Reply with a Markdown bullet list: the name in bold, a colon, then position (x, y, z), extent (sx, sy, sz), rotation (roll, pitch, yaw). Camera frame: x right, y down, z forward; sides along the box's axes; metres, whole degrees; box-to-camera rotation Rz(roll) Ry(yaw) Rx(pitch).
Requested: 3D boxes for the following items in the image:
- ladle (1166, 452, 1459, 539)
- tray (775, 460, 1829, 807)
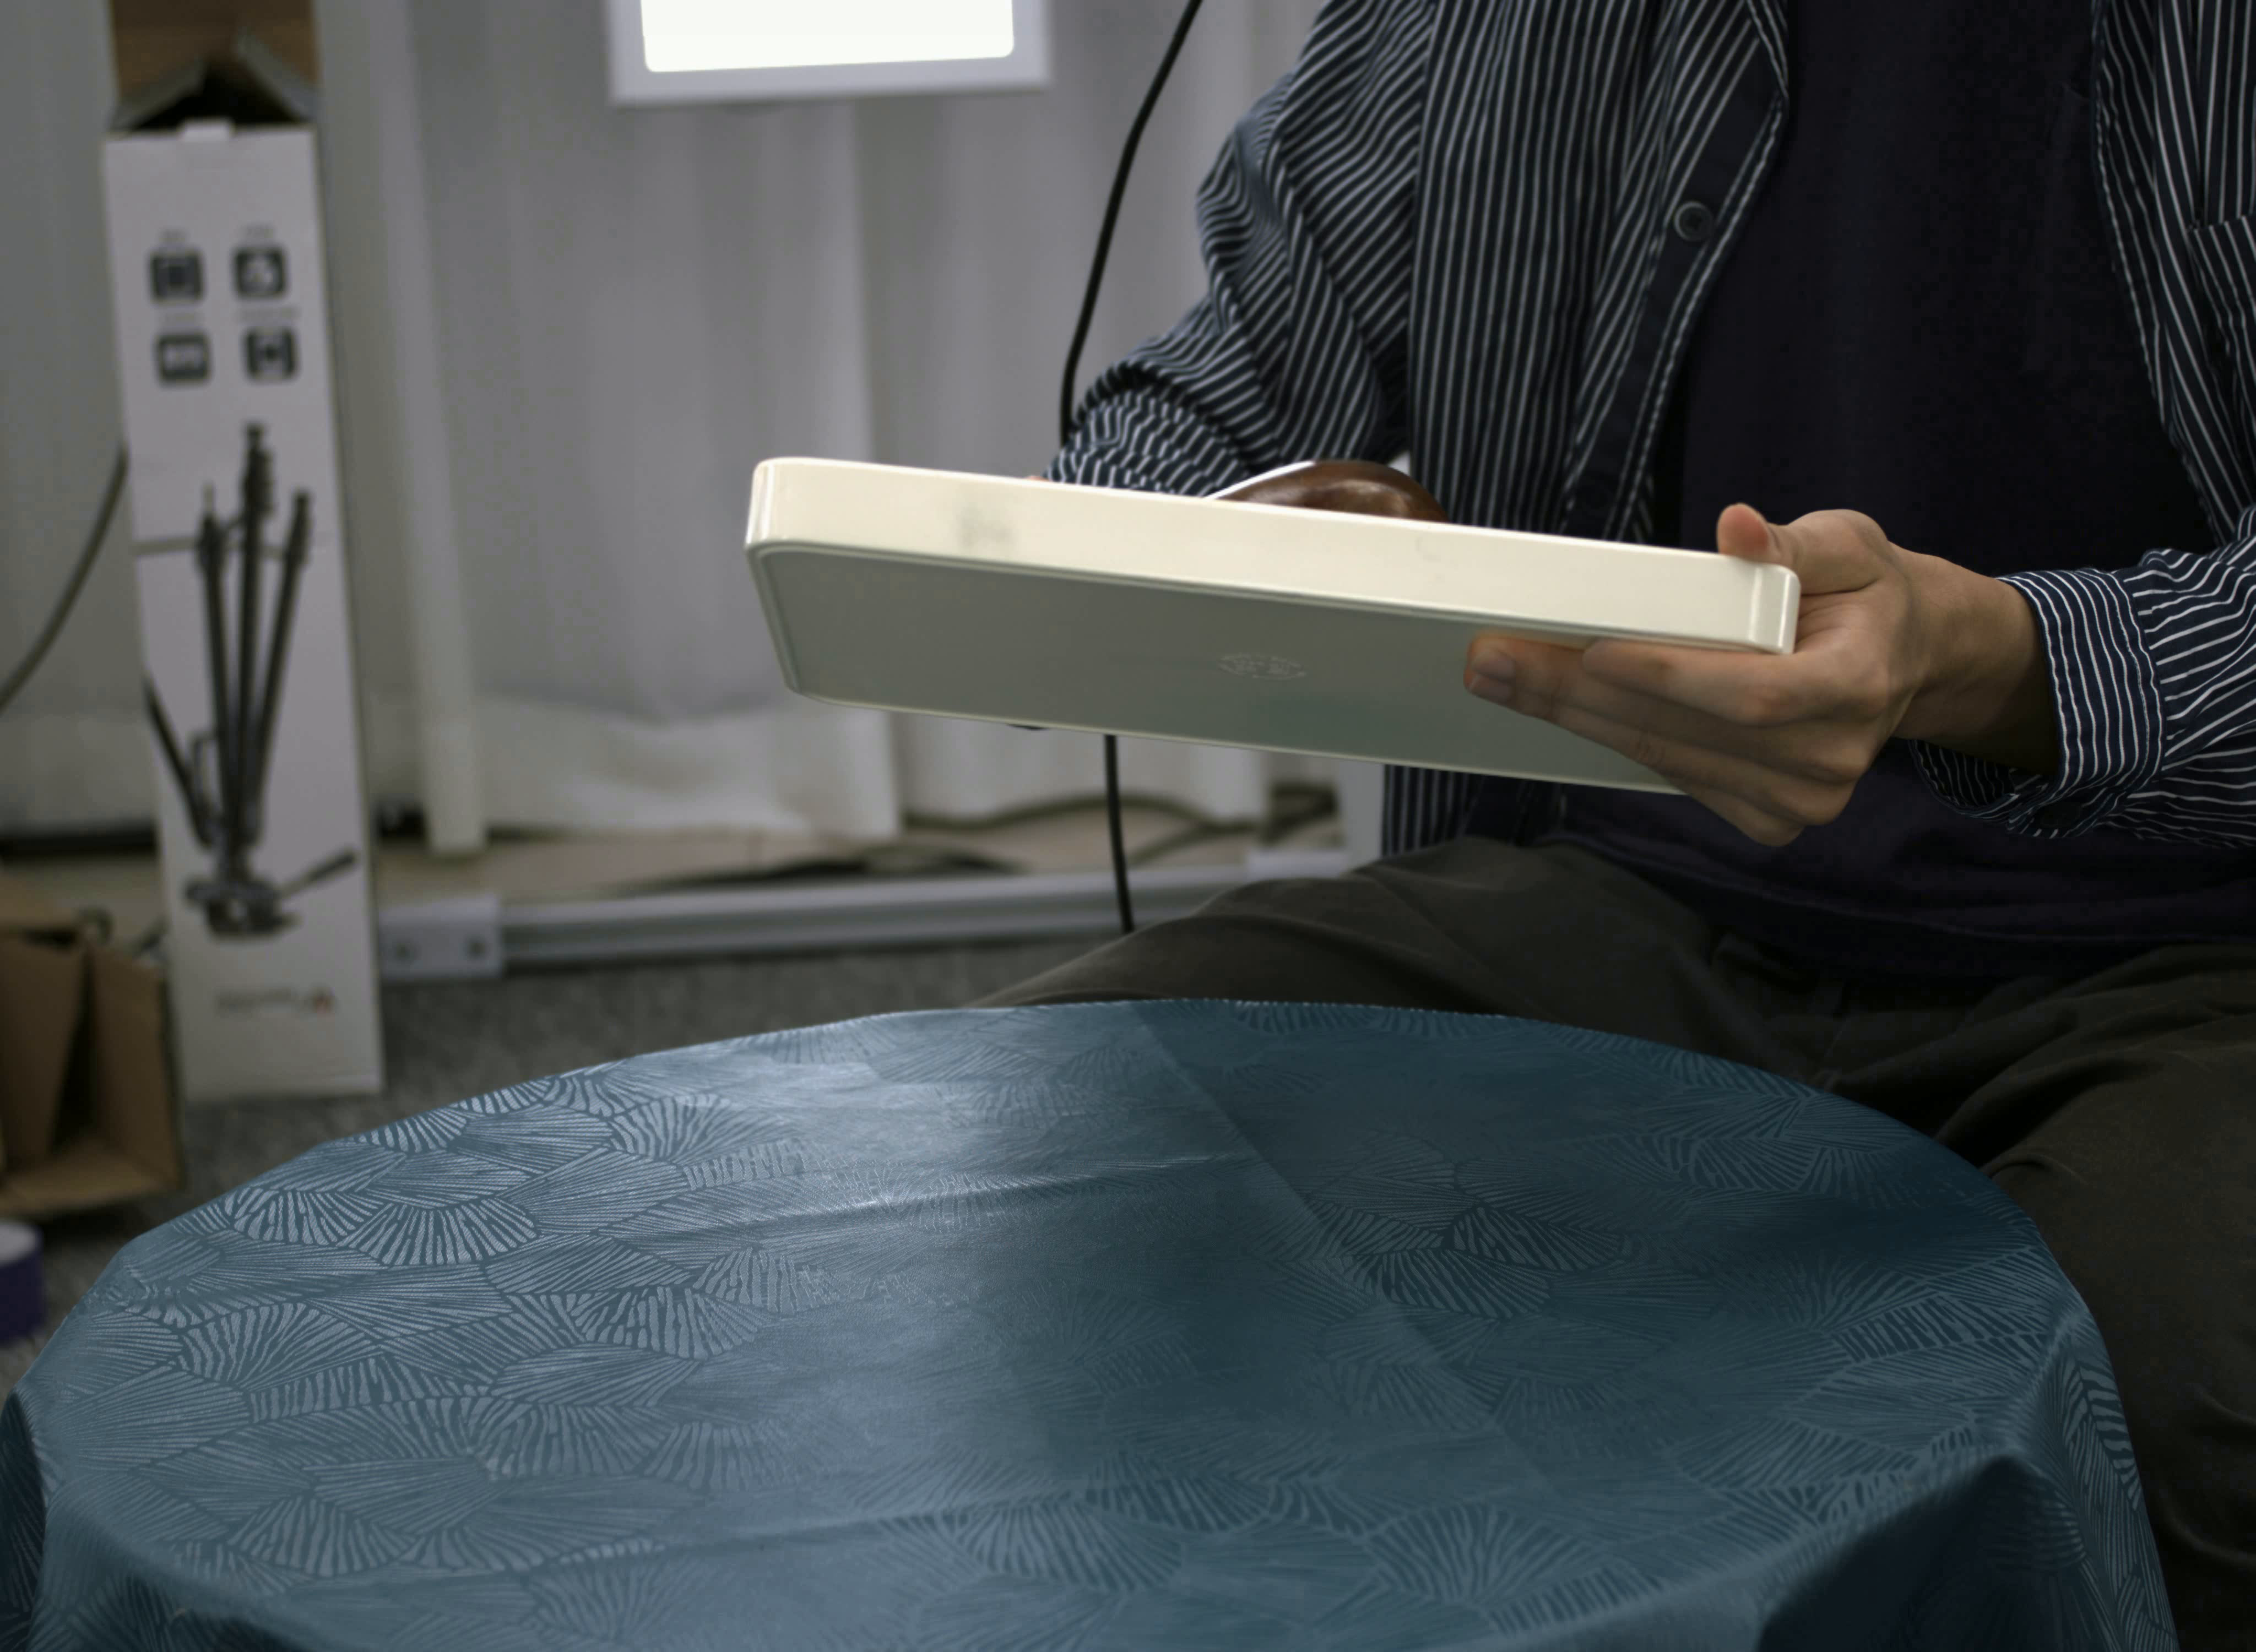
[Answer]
- **ladle**: position (0.014, -0.065, 1.768), extent (0.082, 0.076, 0.274), rotation (-55, 16, -23)
- **tray**: position (0.050, -0.054, 1.624), extent (0.299, 0.027, 0.190), rotation (6, -14, 3)
